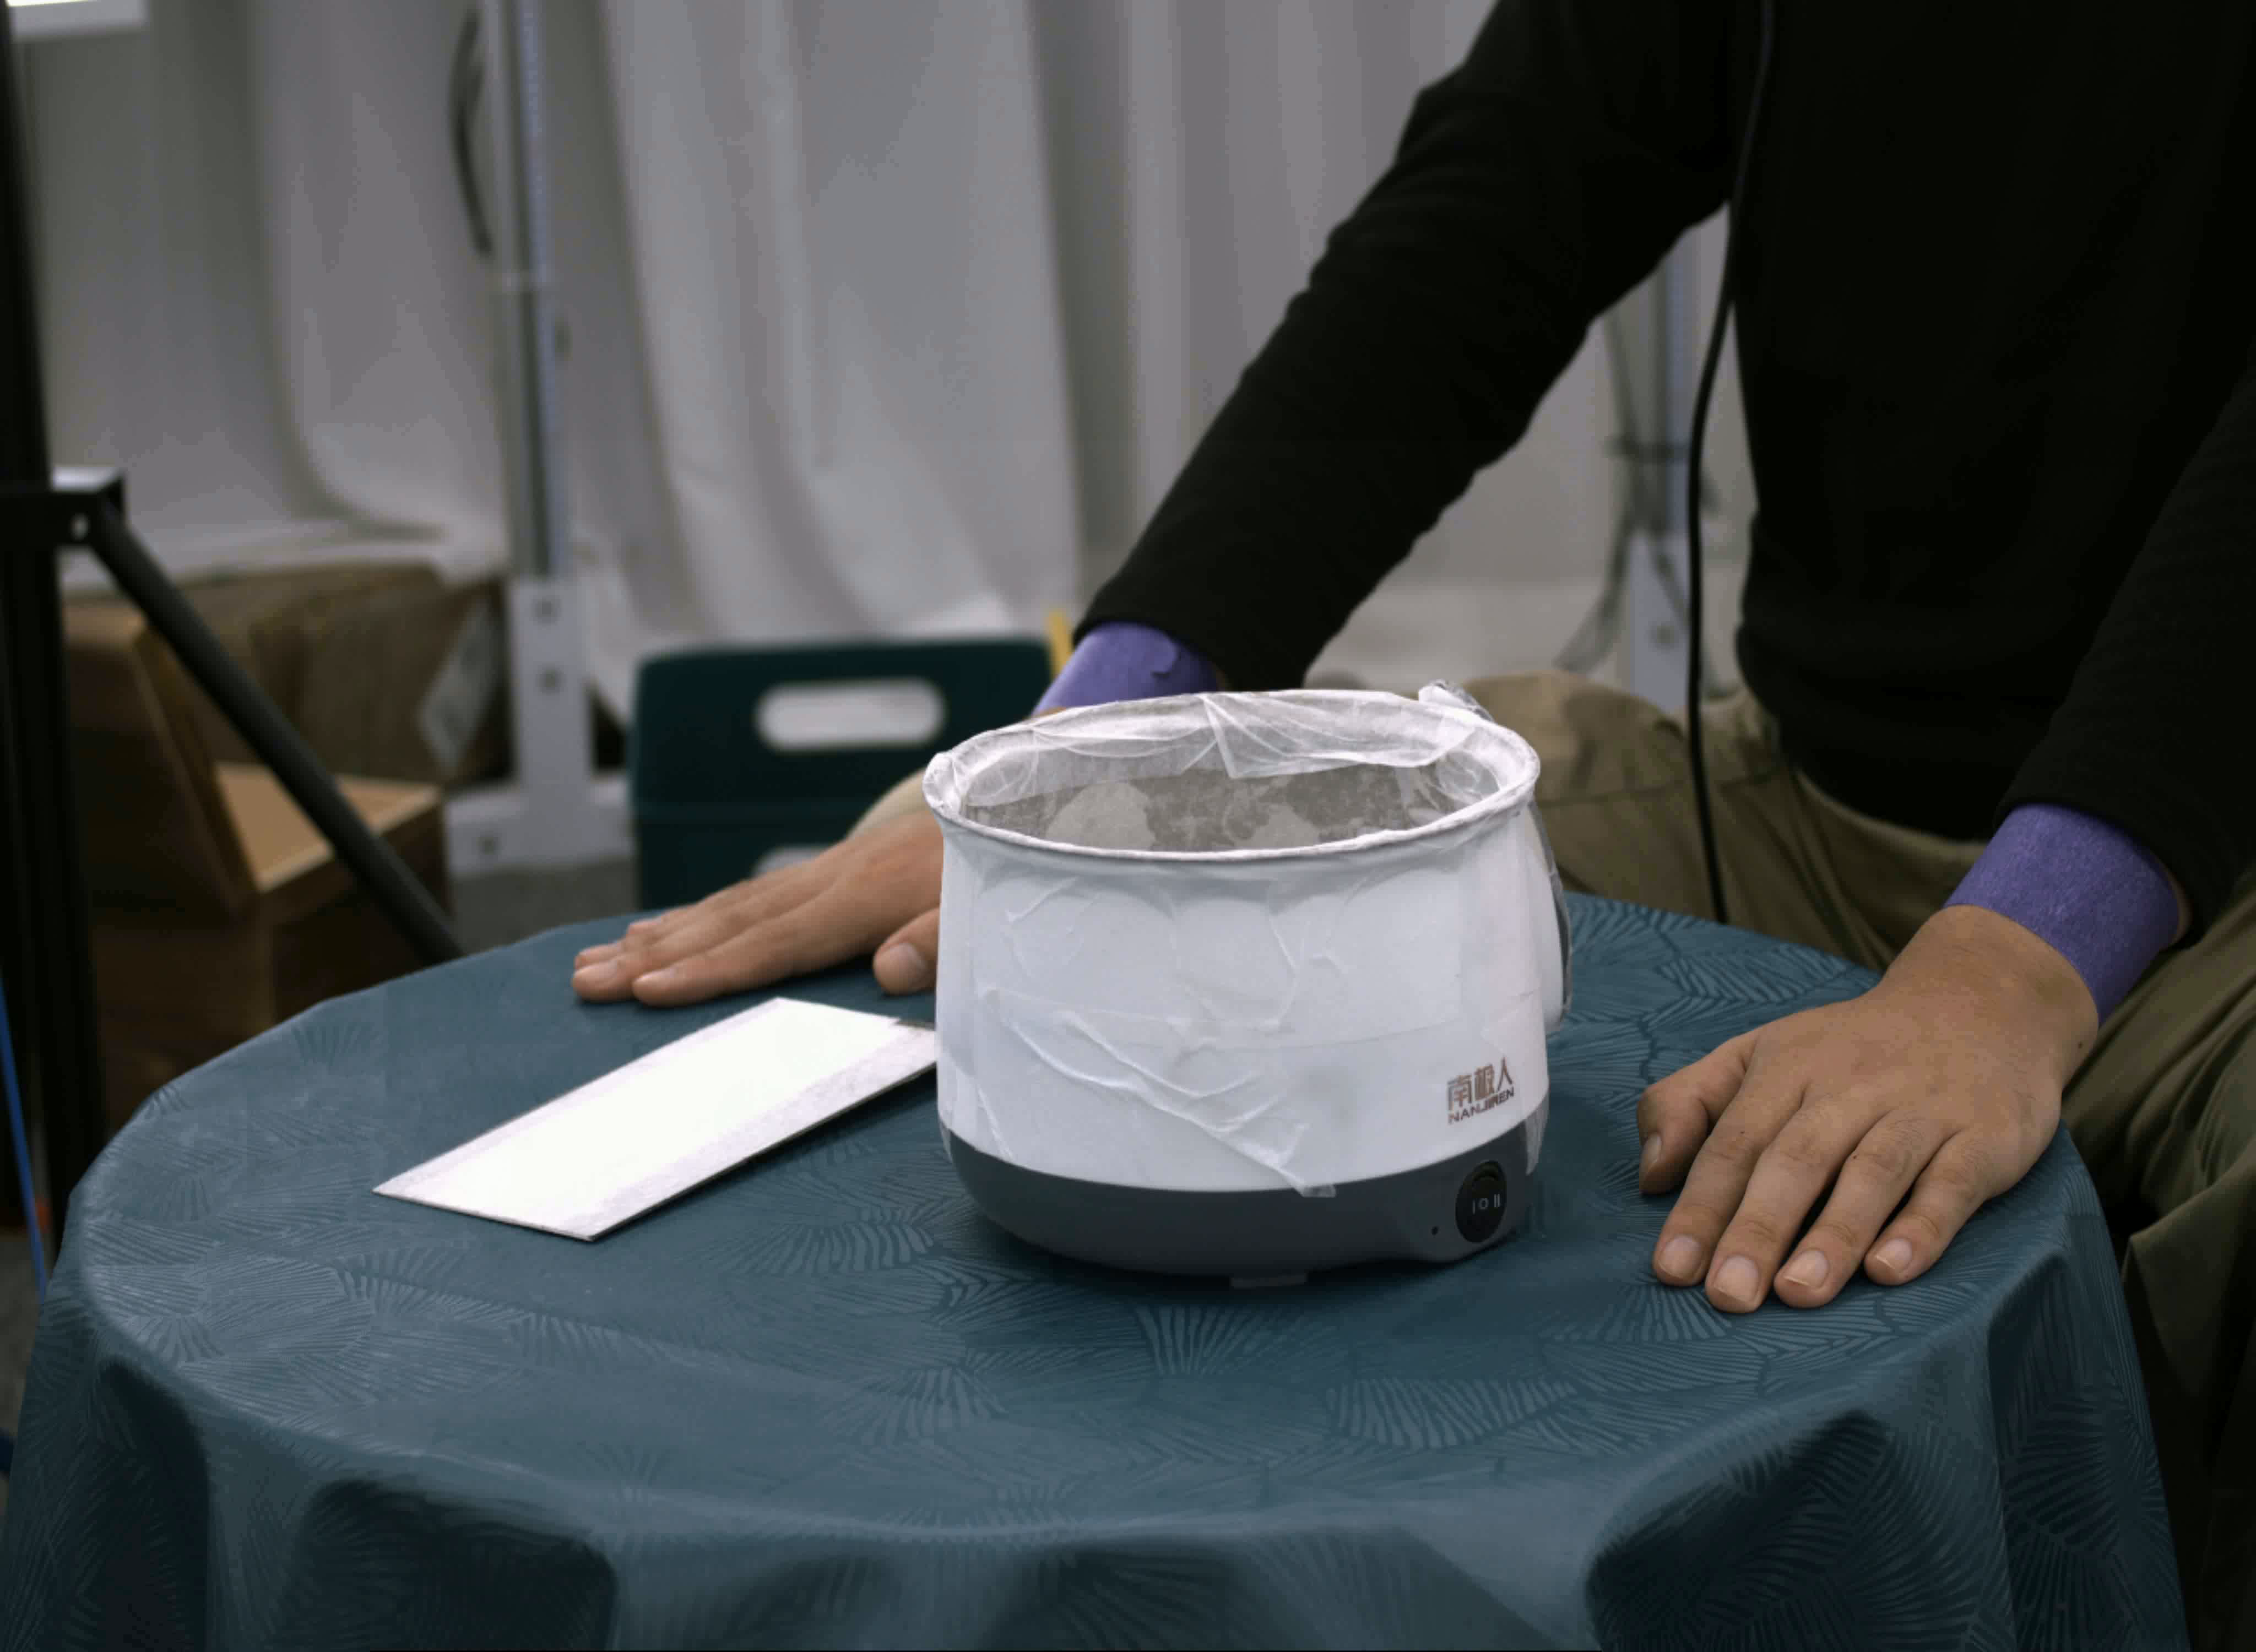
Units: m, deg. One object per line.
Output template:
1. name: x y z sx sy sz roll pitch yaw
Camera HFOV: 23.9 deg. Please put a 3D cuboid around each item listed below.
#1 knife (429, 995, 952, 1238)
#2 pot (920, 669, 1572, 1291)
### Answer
1. knife: -0.099 0.073 1.671 0.095 0.021 0.299 10 22 36
2. pot: 0.049 0.037 1.541 0.182 0.136 0.229 11 22 39
